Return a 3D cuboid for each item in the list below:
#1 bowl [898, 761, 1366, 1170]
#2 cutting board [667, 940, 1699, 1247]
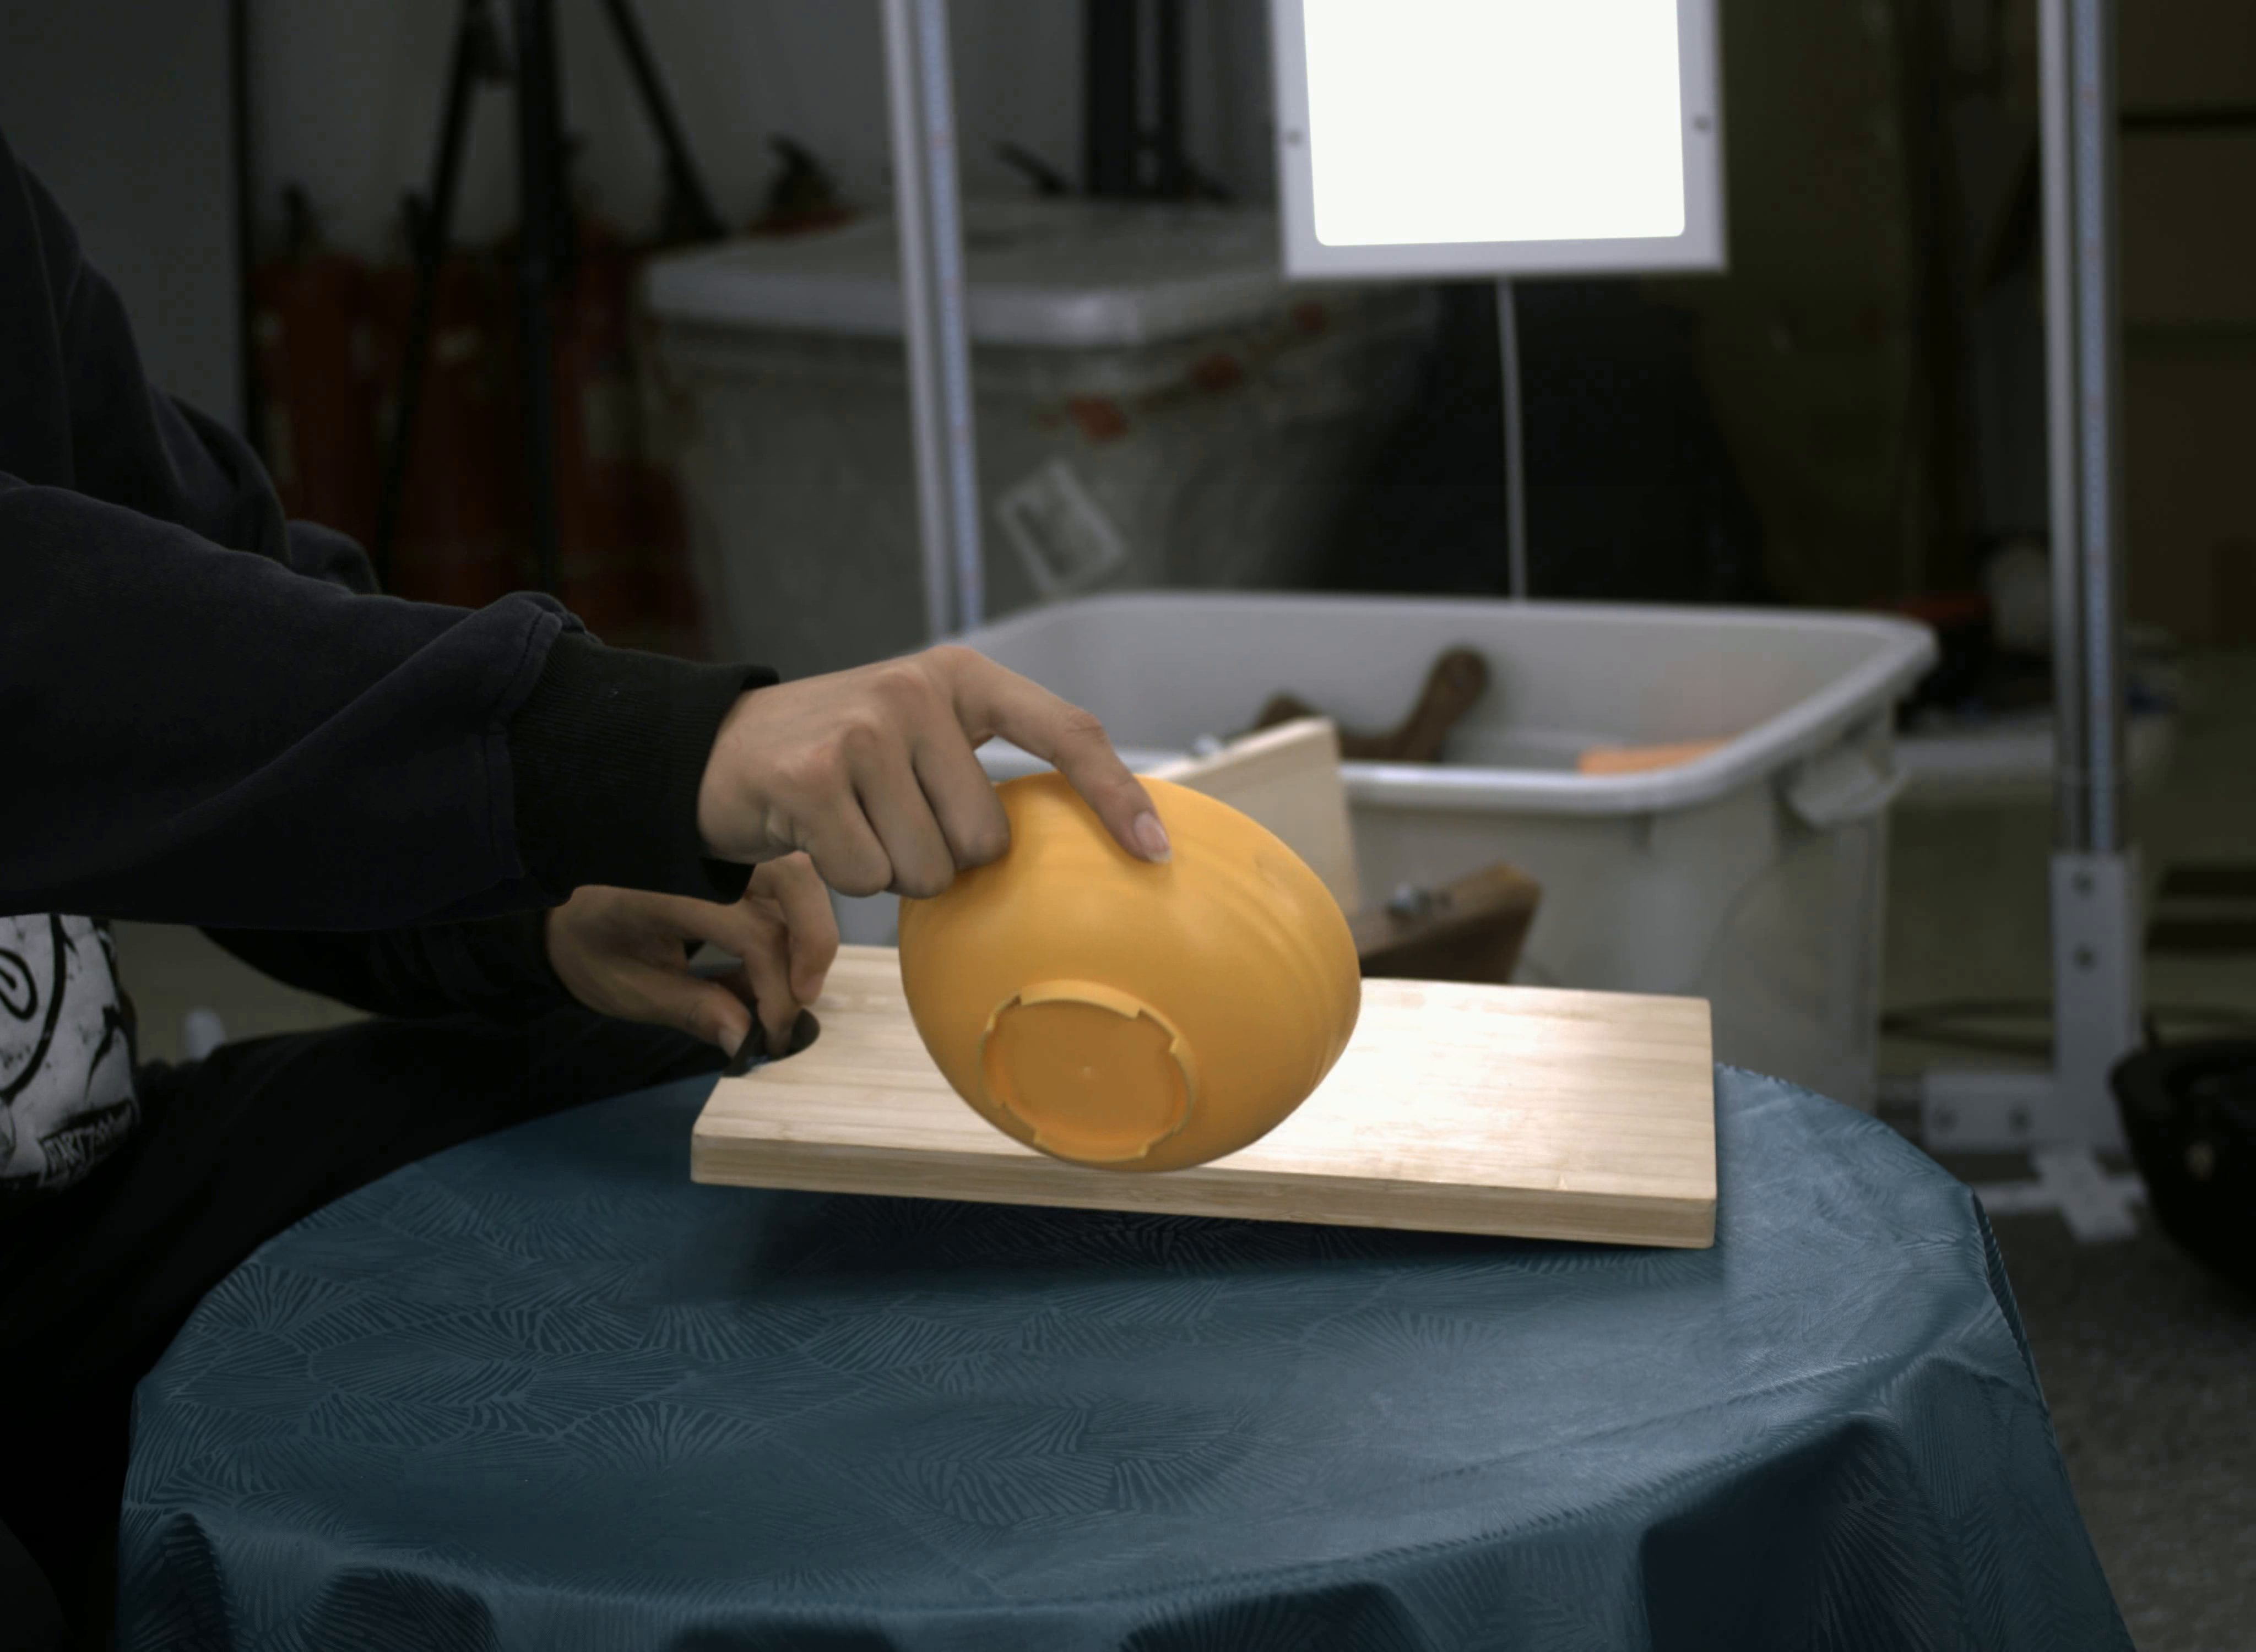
[{"bbox_3d":[-0.004,0.055,1.635,0.147,0.145,0.059,0,39,16],"label":"bowl"},{"bbox_3d":[0.029,0.090,1.920,0.349,0.024,0.249,3,14,5],"label":"cutting board"}]
